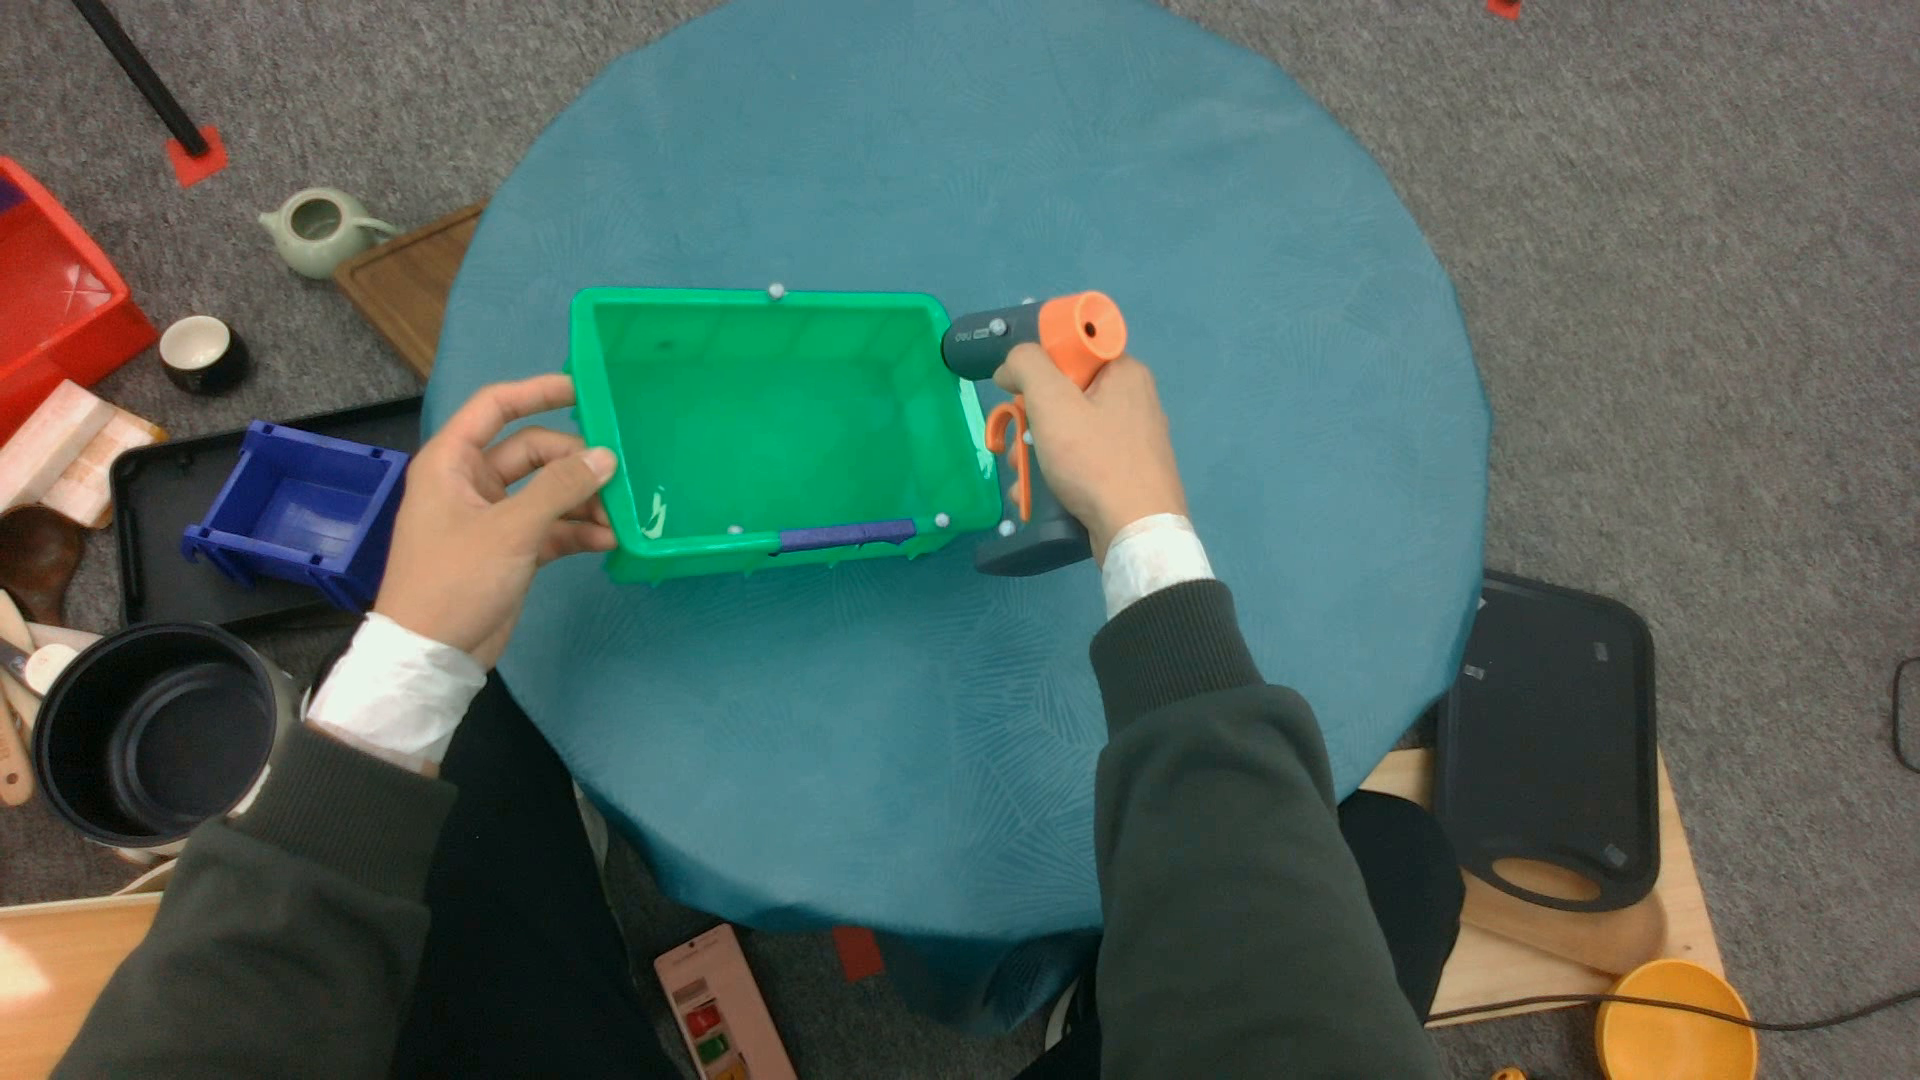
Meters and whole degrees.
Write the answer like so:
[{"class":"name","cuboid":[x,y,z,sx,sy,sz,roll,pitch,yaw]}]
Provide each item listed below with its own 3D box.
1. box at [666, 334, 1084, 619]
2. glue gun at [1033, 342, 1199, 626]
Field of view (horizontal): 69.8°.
[{"class":"box","cuboid":[-0.047,-0.031,0.718,0.211,0.065,0.139,-3,69,-30]},{"class":"glue gun","cuboid":[0.073,-0.032,0.680,0.041,0.117,0.140,9,68,-27]}]
